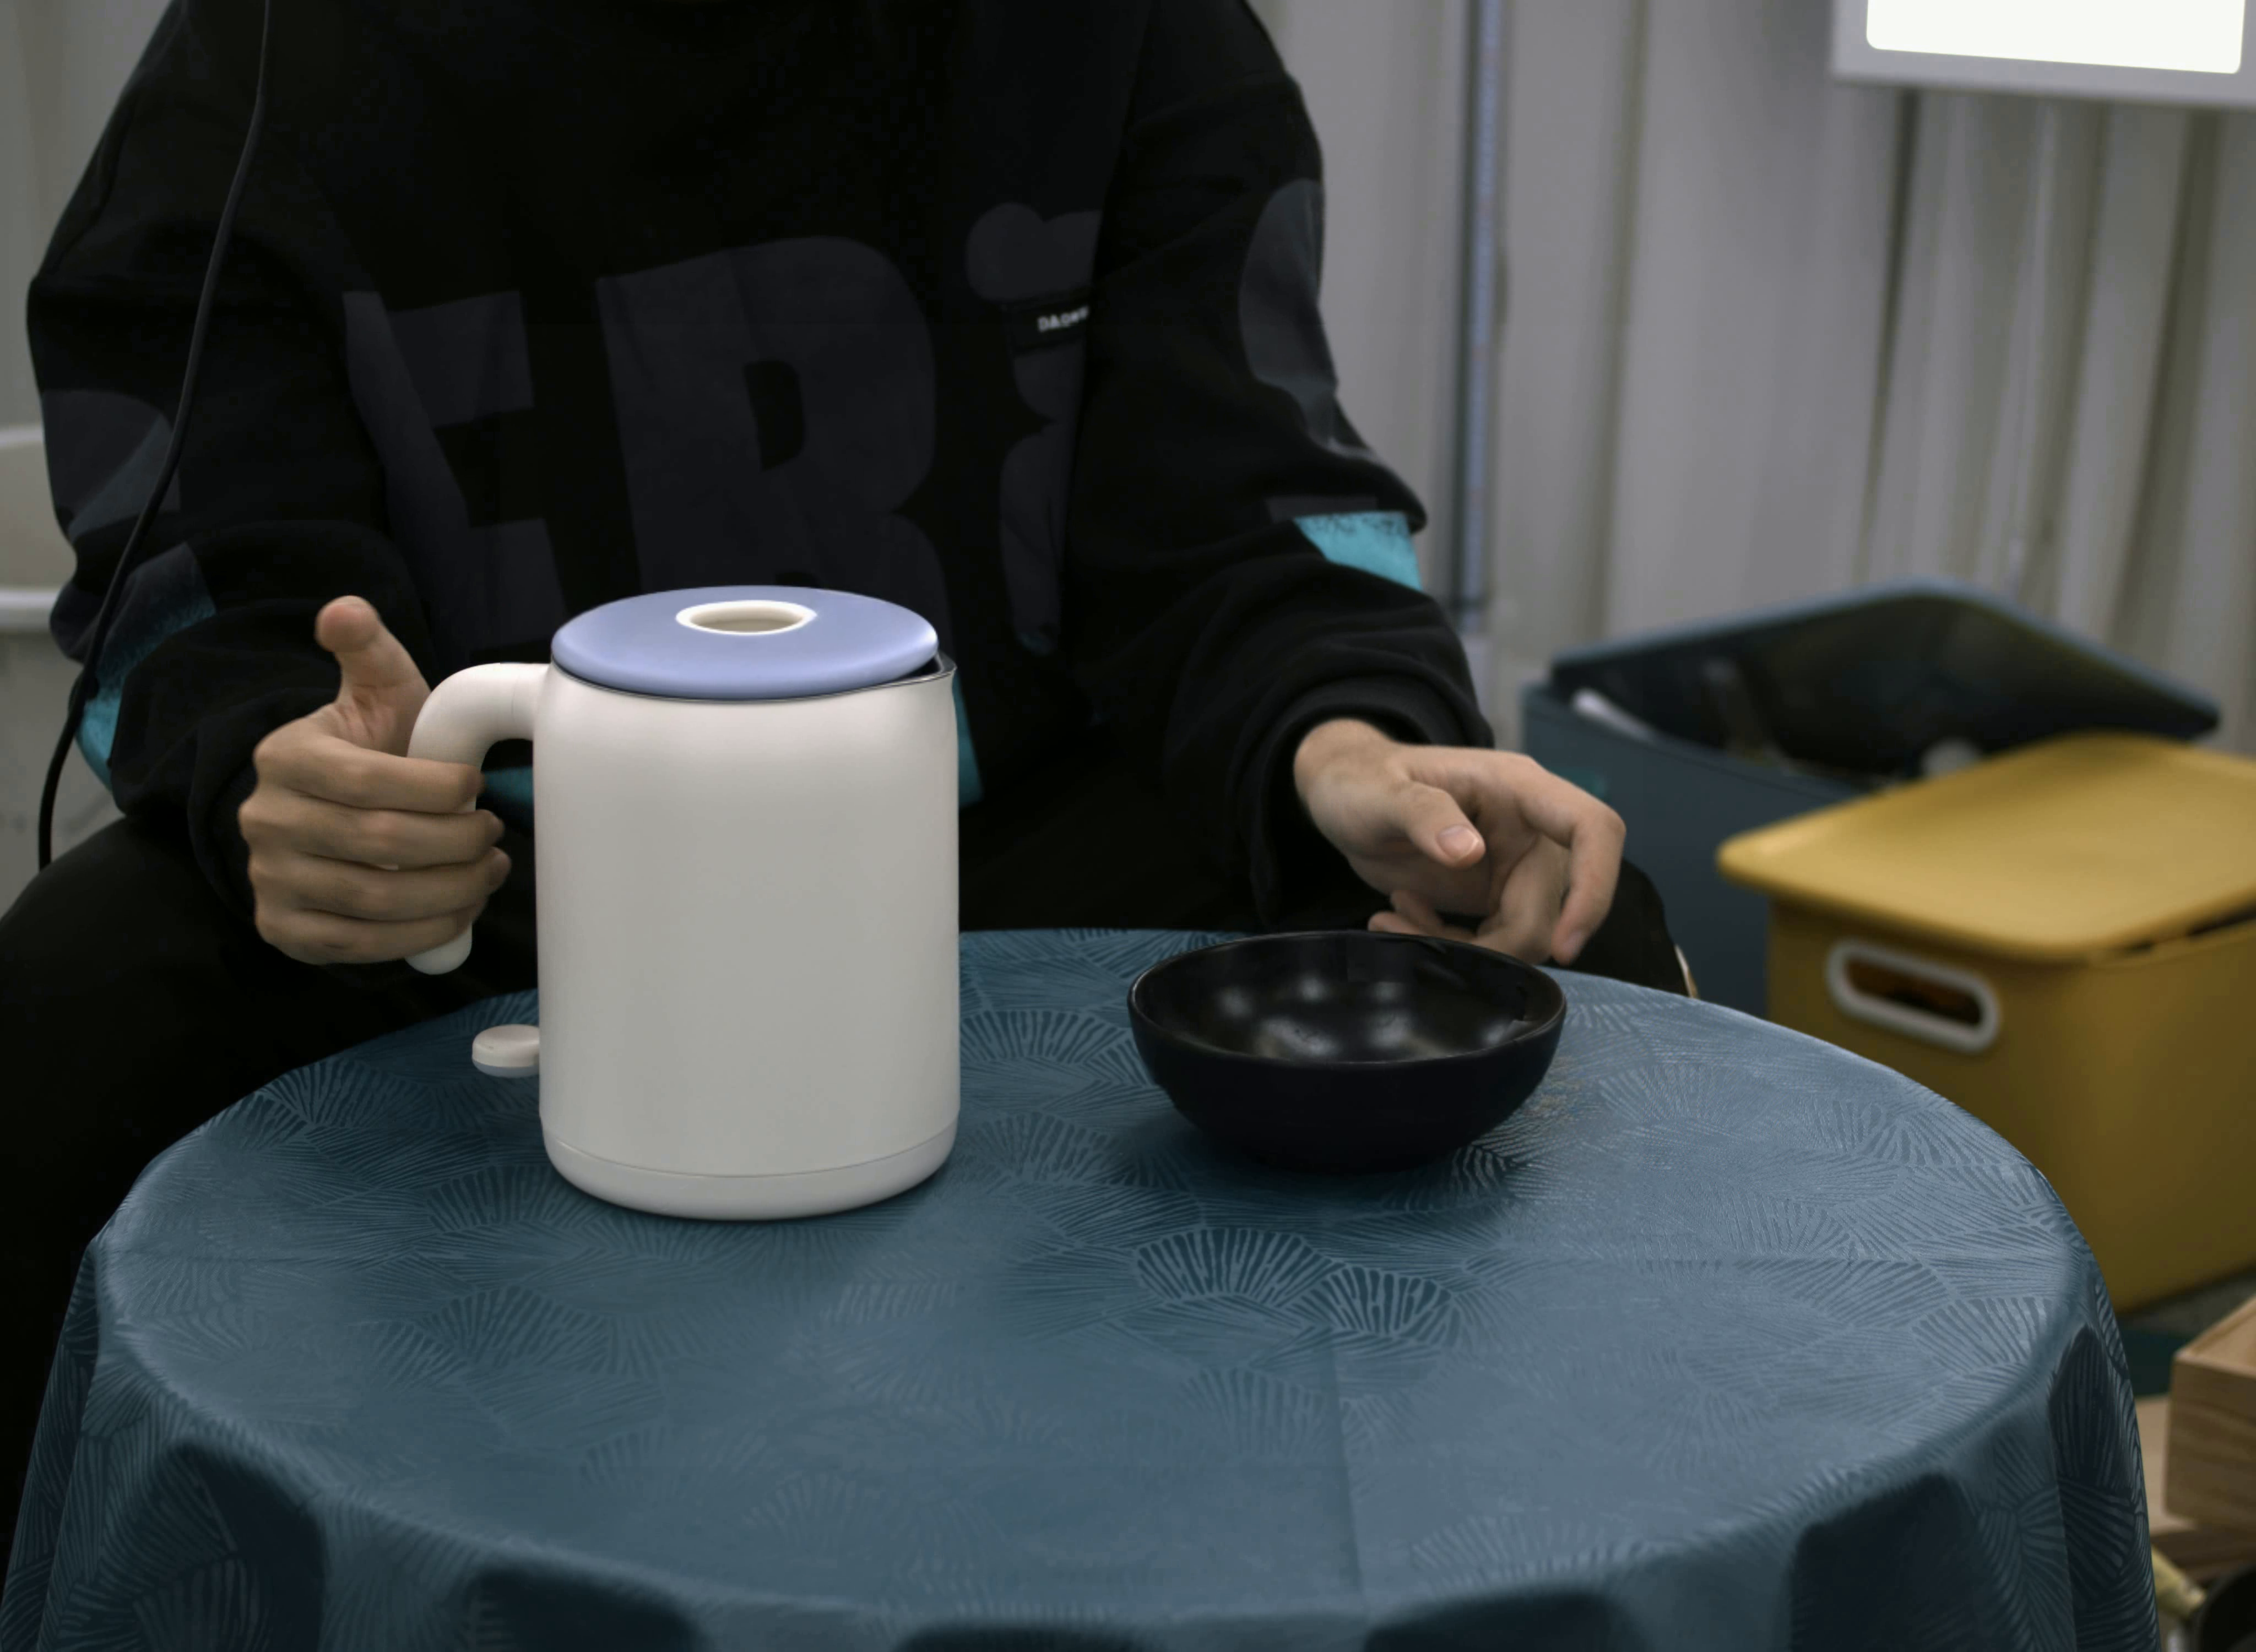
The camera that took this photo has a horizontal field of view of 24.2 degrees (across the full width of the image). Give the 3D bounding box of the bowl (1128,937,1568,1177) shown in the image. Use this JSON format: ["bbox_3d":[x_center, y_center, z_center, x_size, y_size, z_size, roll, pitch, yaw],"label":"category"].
[{"bbox_3d":[0.069,0.077,1.660,0.139,0.050,0.139,-1,14,1],"label":"bowl"}]

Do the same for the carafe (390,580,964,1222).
[{"bbox_3d":[-0.140,0.021,1.626,0.189,0.184,0.132,3,15,17],"label":"carafe"}]
